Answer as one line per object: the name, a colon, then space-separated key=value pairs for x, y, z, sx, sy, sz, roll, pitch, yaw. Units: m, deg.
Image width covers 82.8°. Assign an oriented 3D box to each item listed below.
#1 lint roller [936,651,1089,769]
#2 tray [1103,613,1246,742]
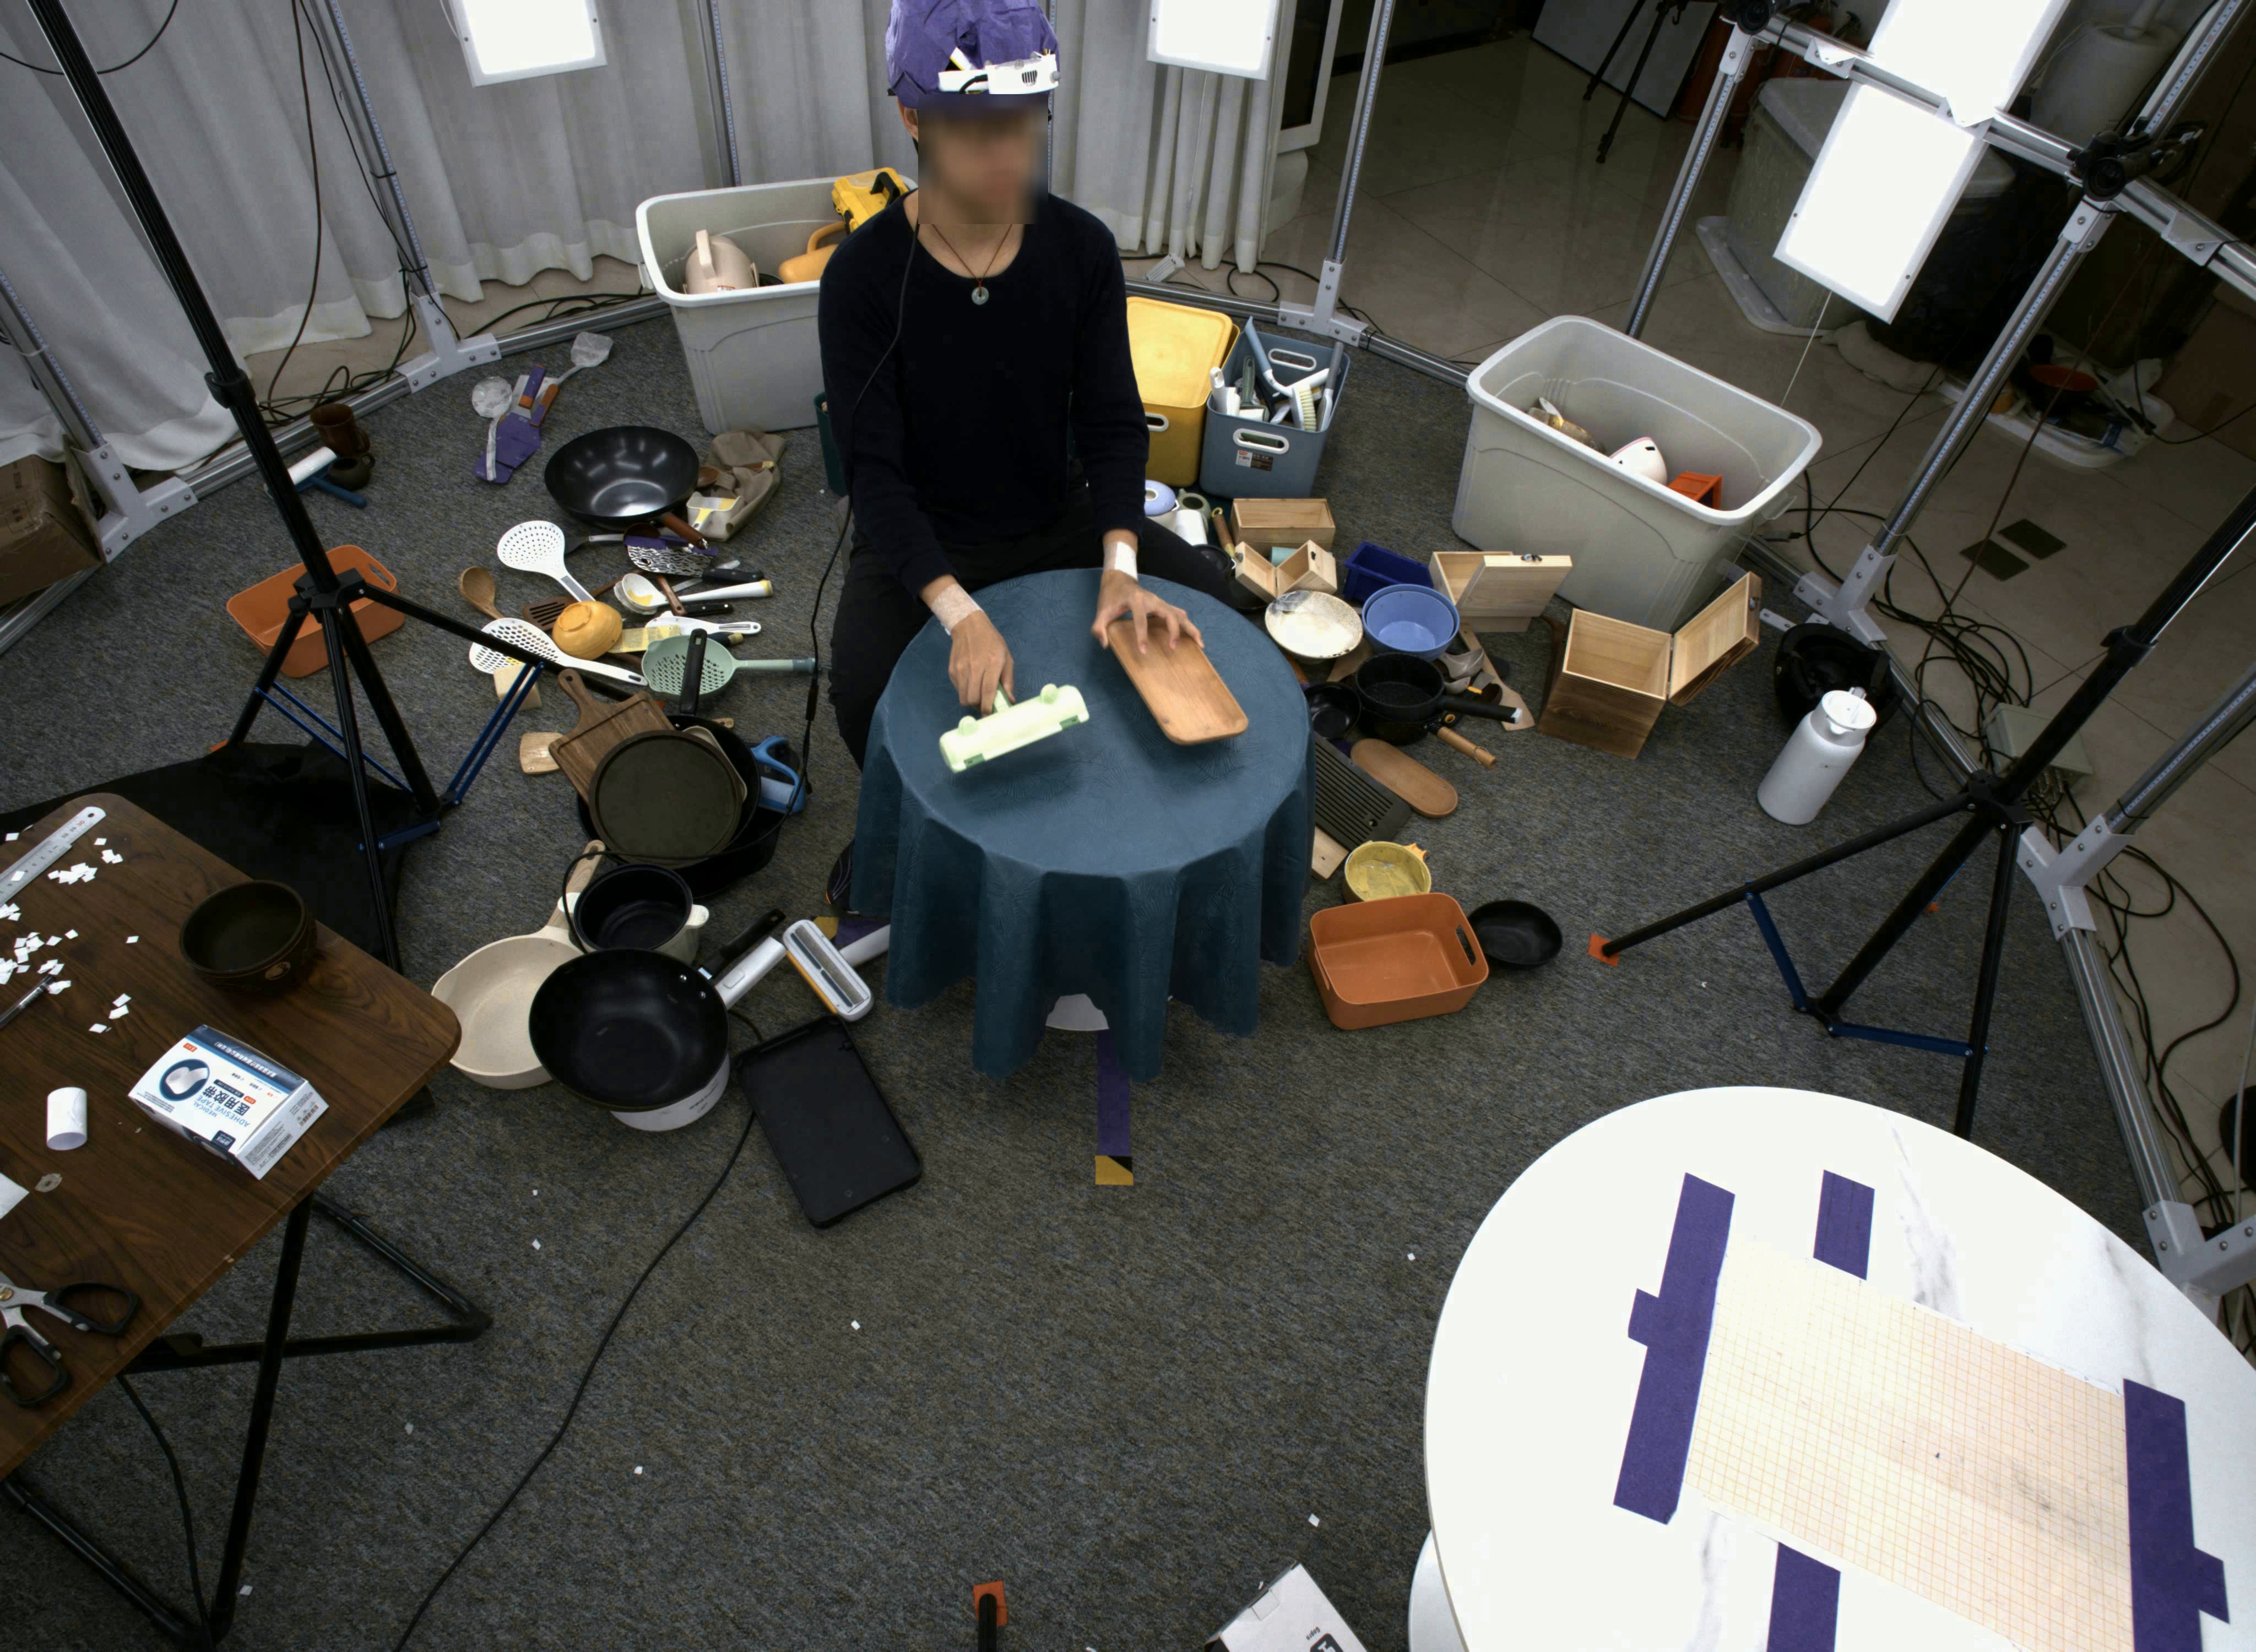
lint roller: x=-0.176 y=-0.179 z=1.698 sx=0.199 sy=0.080 sz=0.187 roll=-23 pitch=64 yaw=-14
tray: x=0.061 y=-0.209 z=1.784 sx=0.130 sy=0.022 sz=0.256 roll=-7 pitch=48 yaw=-26
